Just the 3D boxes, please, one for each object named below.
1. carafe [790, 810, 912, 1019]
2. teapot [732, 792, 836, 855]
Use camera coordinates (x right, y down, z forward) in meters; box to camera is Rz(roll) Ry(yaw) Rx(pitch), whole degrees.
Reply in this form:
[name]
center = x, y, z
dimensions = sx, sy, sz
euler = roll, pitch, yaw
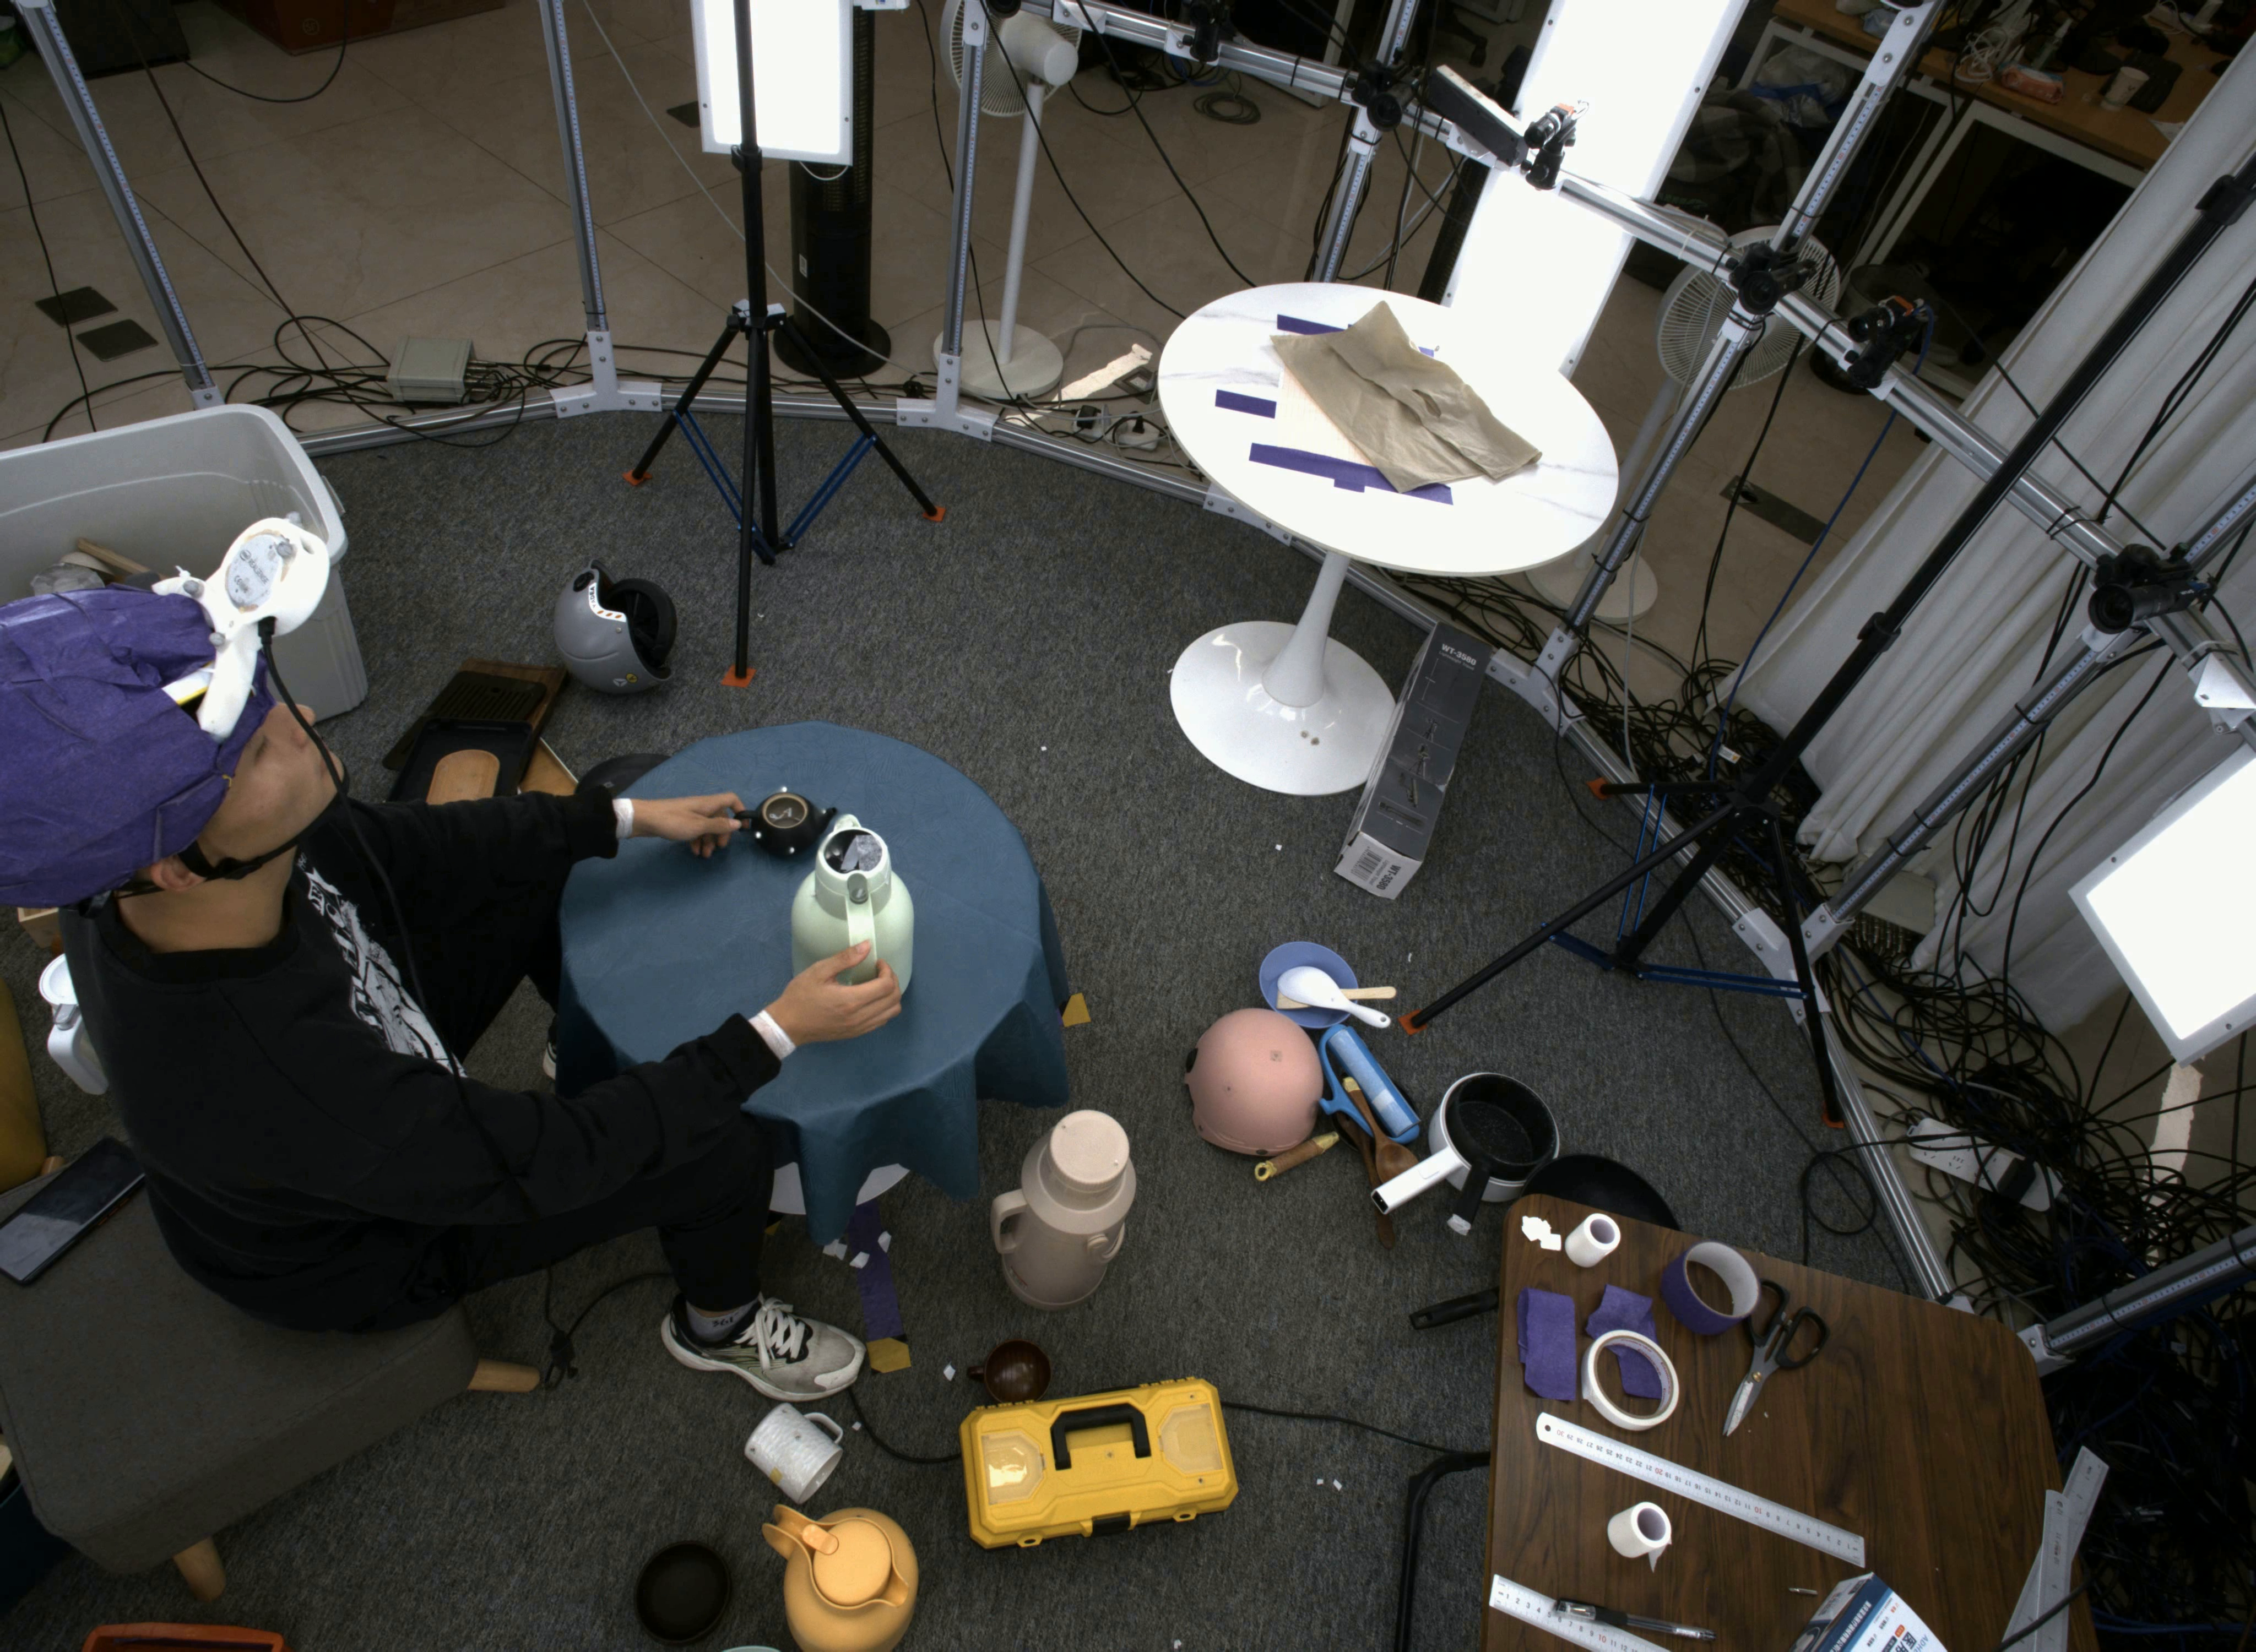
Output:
[carafe]
center = -0.318, 0.113, 1.502
dimensions = 0.145, 0.261, 0.183
euler = -6, 57, -18
[teapot]
center = -0.447, -0.006, 1.685
dimensions = 0.133, 0.054, 0.089
euler = -2, 52, -16
